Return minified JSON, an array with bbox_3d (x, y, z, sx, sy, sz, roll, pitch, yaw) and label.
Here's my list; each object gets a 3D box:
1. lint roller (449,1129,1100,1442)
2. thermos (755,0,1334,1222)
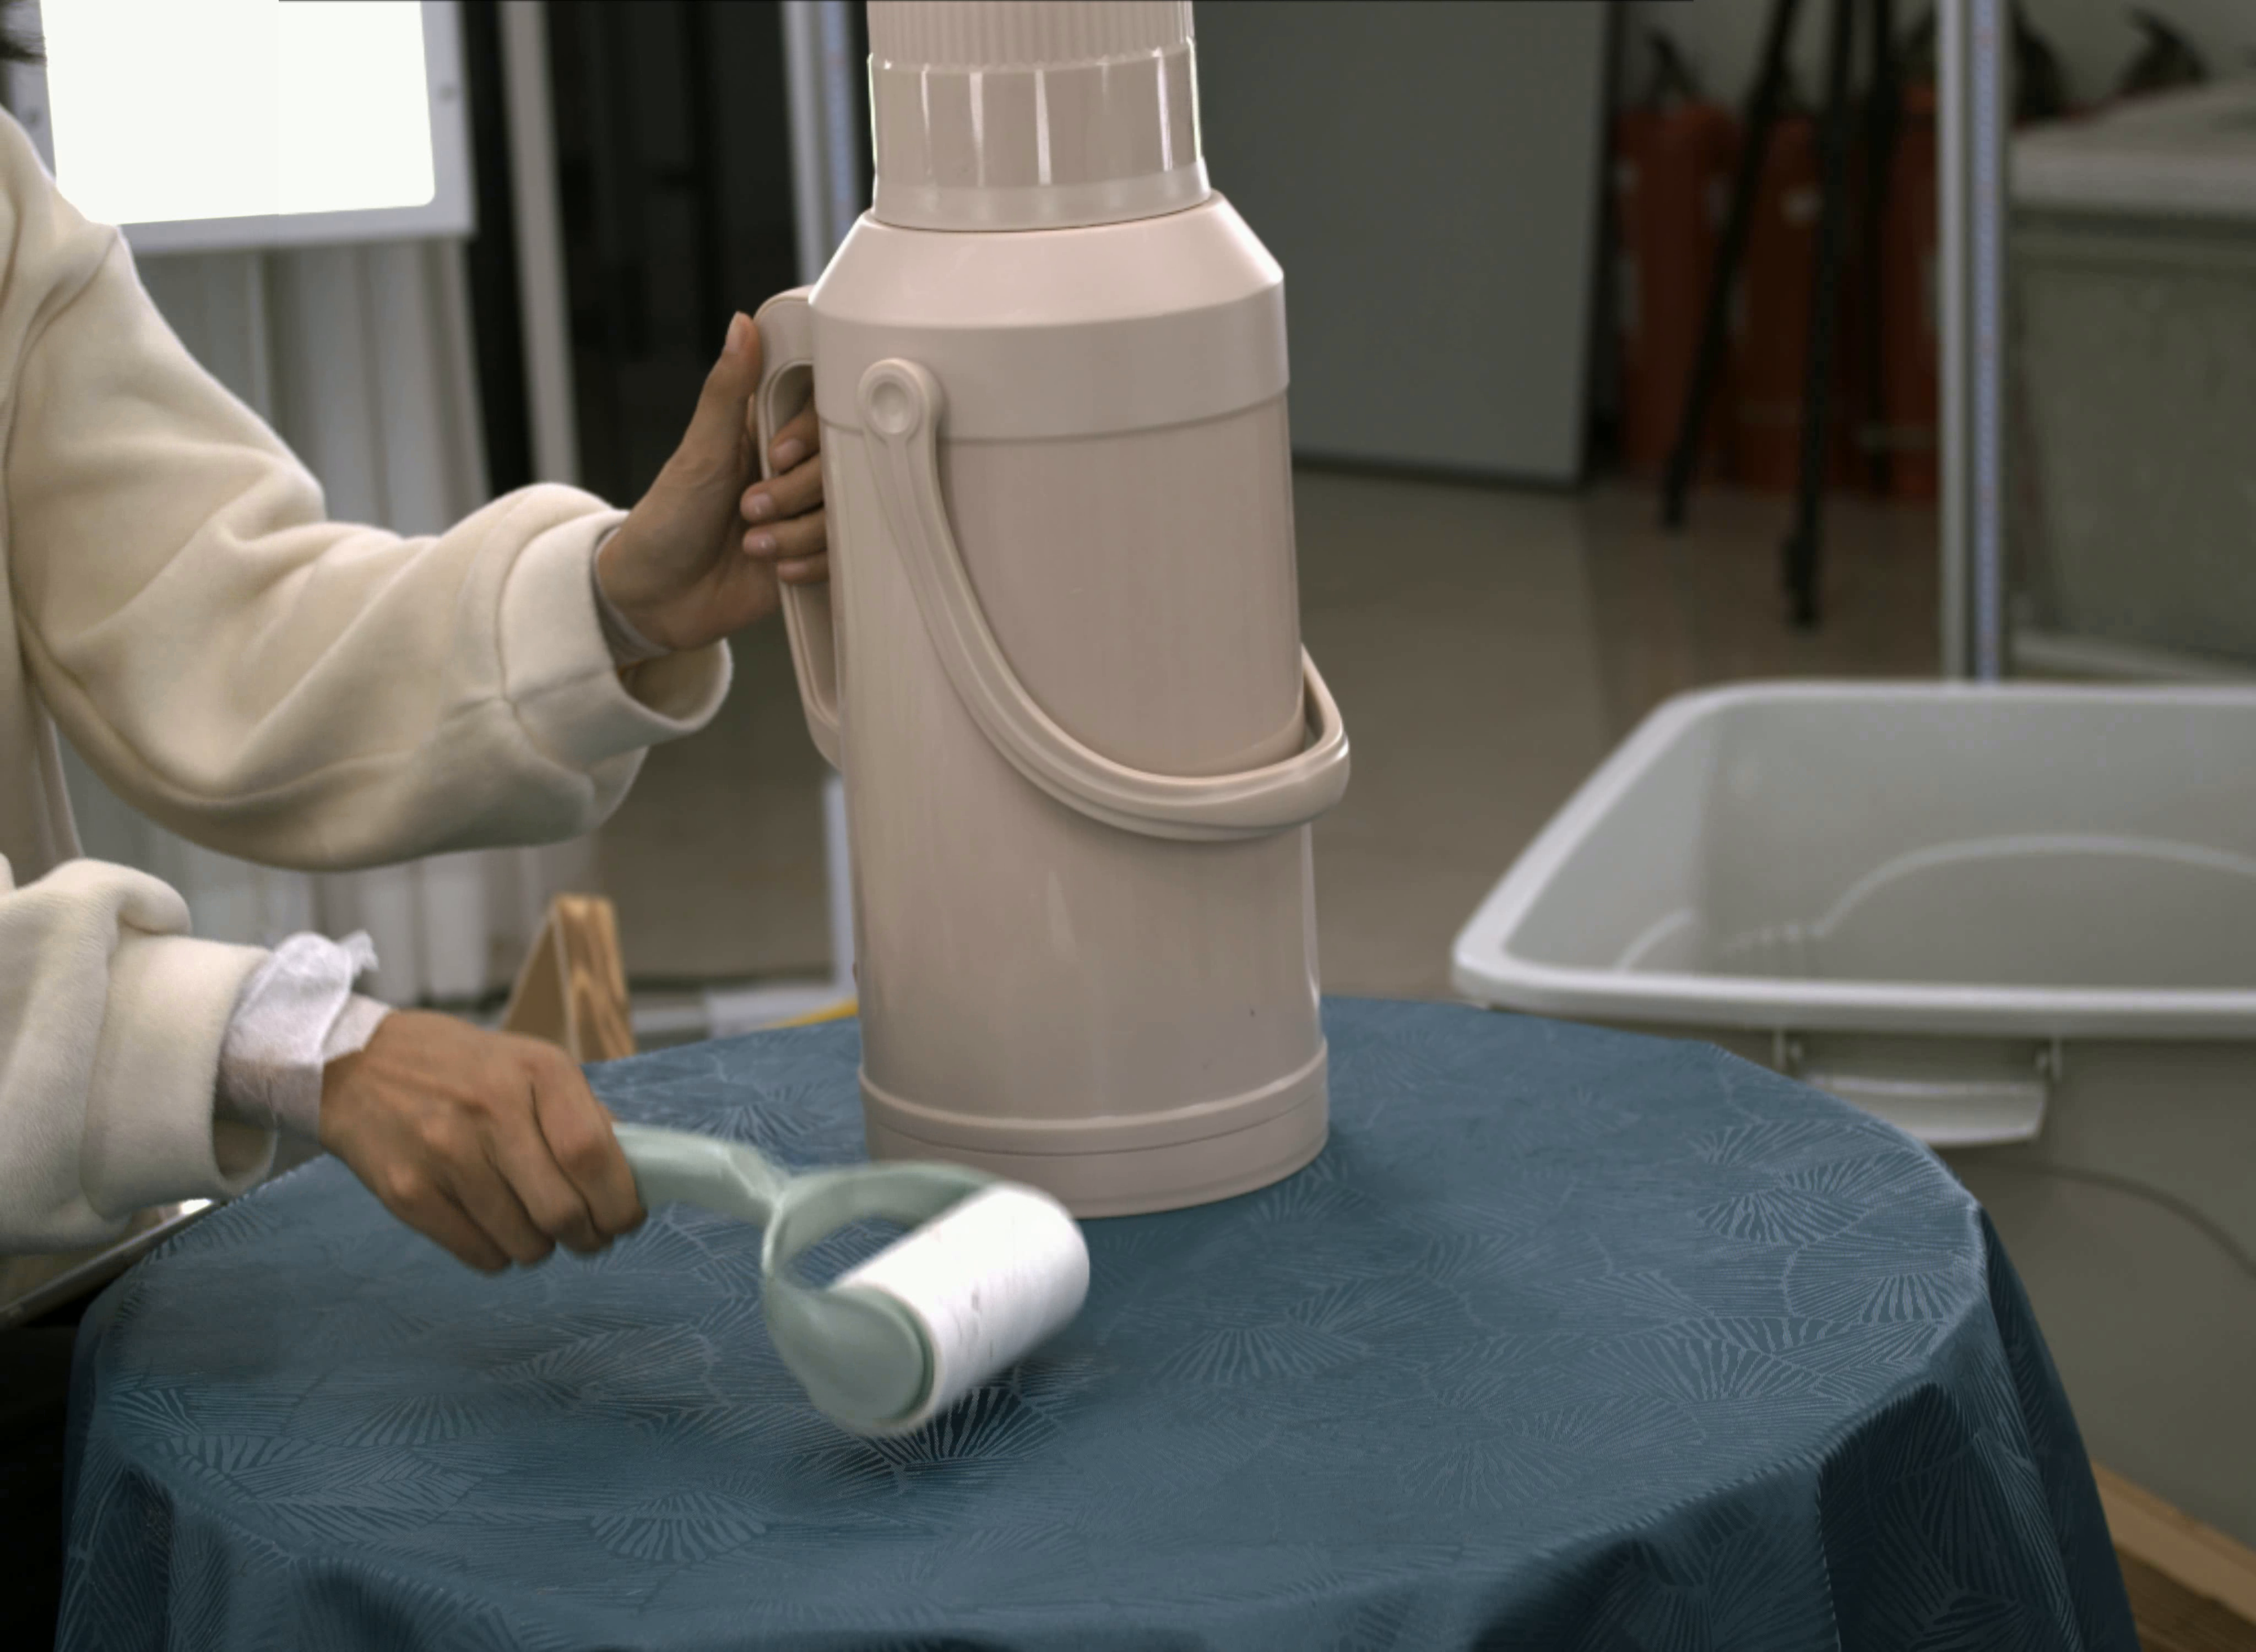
[{"bbox_3d":[-0.113,0.119,1.602,0.198,0.049,0.115,20,22,22],"label":"lint roller"},{"bbox_3d":[-0.032,-0.085,1.782,0.208,0.411,0.172,6,16,35],"label":"thermos"}]
